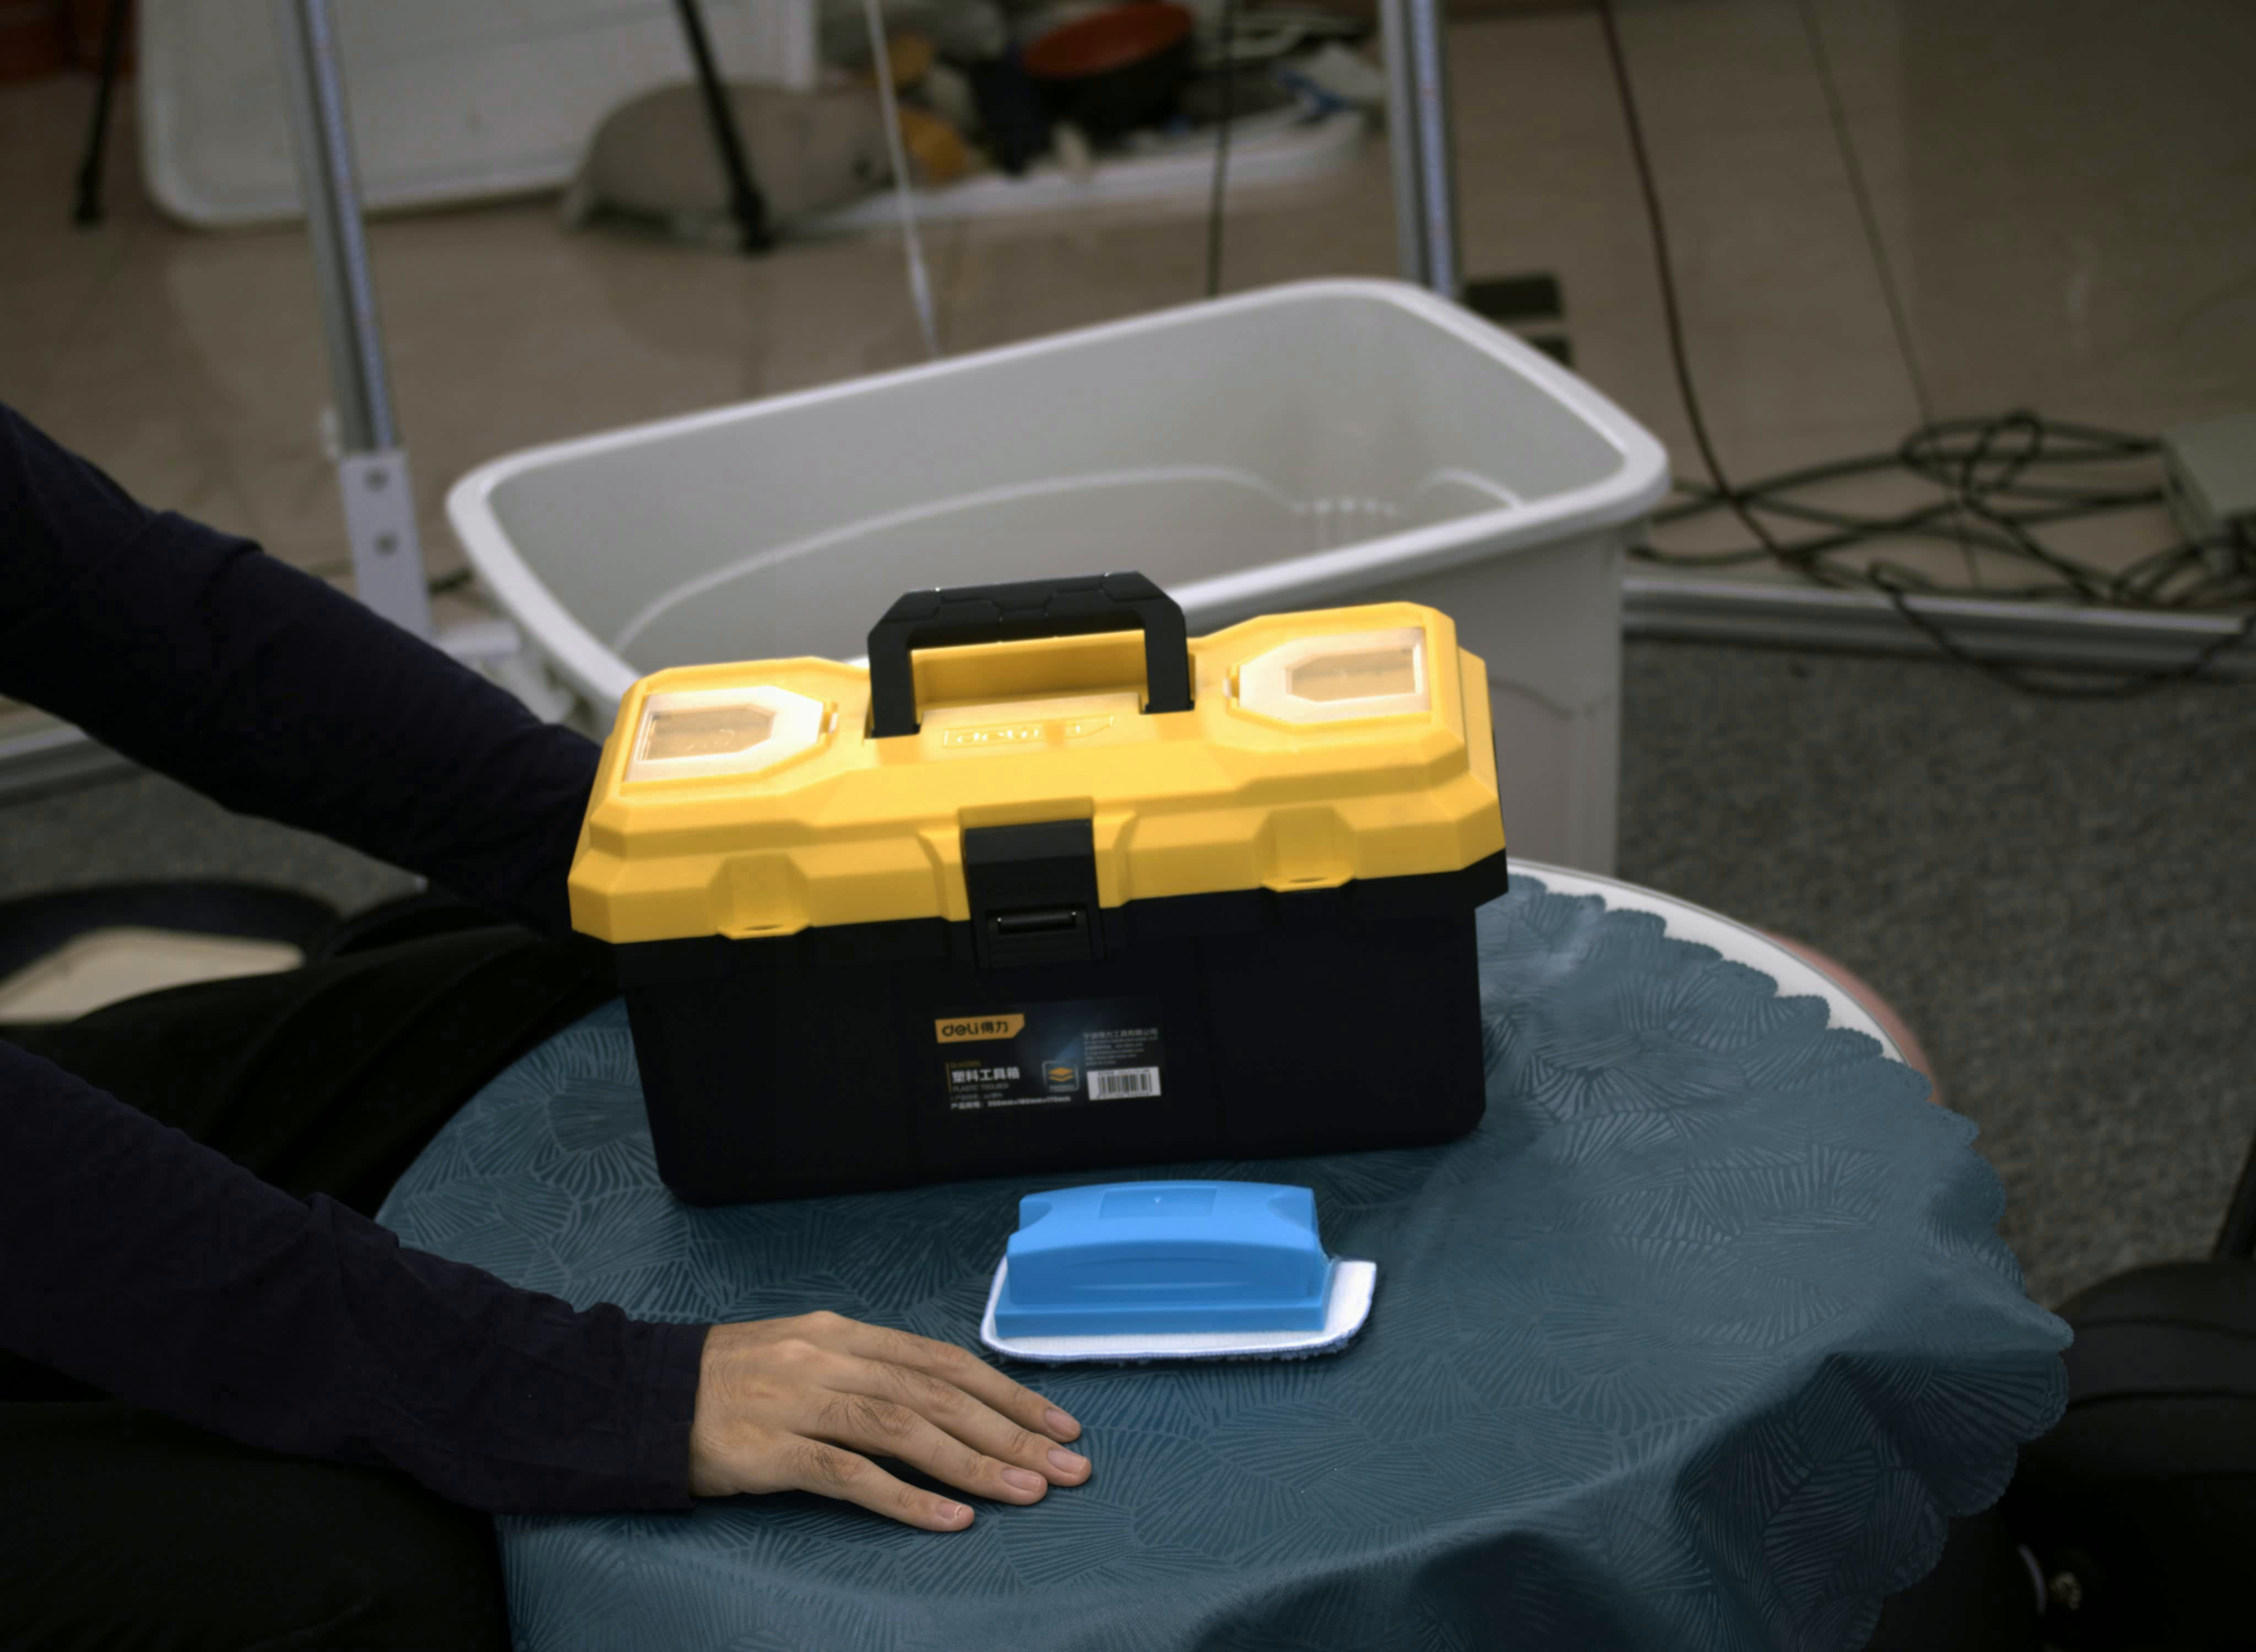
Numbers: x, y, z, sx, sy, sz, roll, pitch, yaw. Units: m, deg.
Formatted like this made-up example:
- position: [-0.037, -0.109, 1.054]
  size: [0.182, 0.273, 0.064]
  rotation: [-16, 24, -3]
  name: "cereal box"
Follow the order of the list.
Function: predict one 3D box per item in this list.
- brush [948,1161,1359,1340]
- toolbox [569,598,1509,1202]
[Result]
- position: [0.009, 0.152, 2.044]
  size: [0.143, 0.057, 0.083]
  rotation: [1, 23, 11]
  name: "brush"
- position: [-0.029, 0.030, 2.179]
  size: [0.351, 0.175, 0.178]
  rotation: [-5, 25, 4]
  name: "toolbox"
